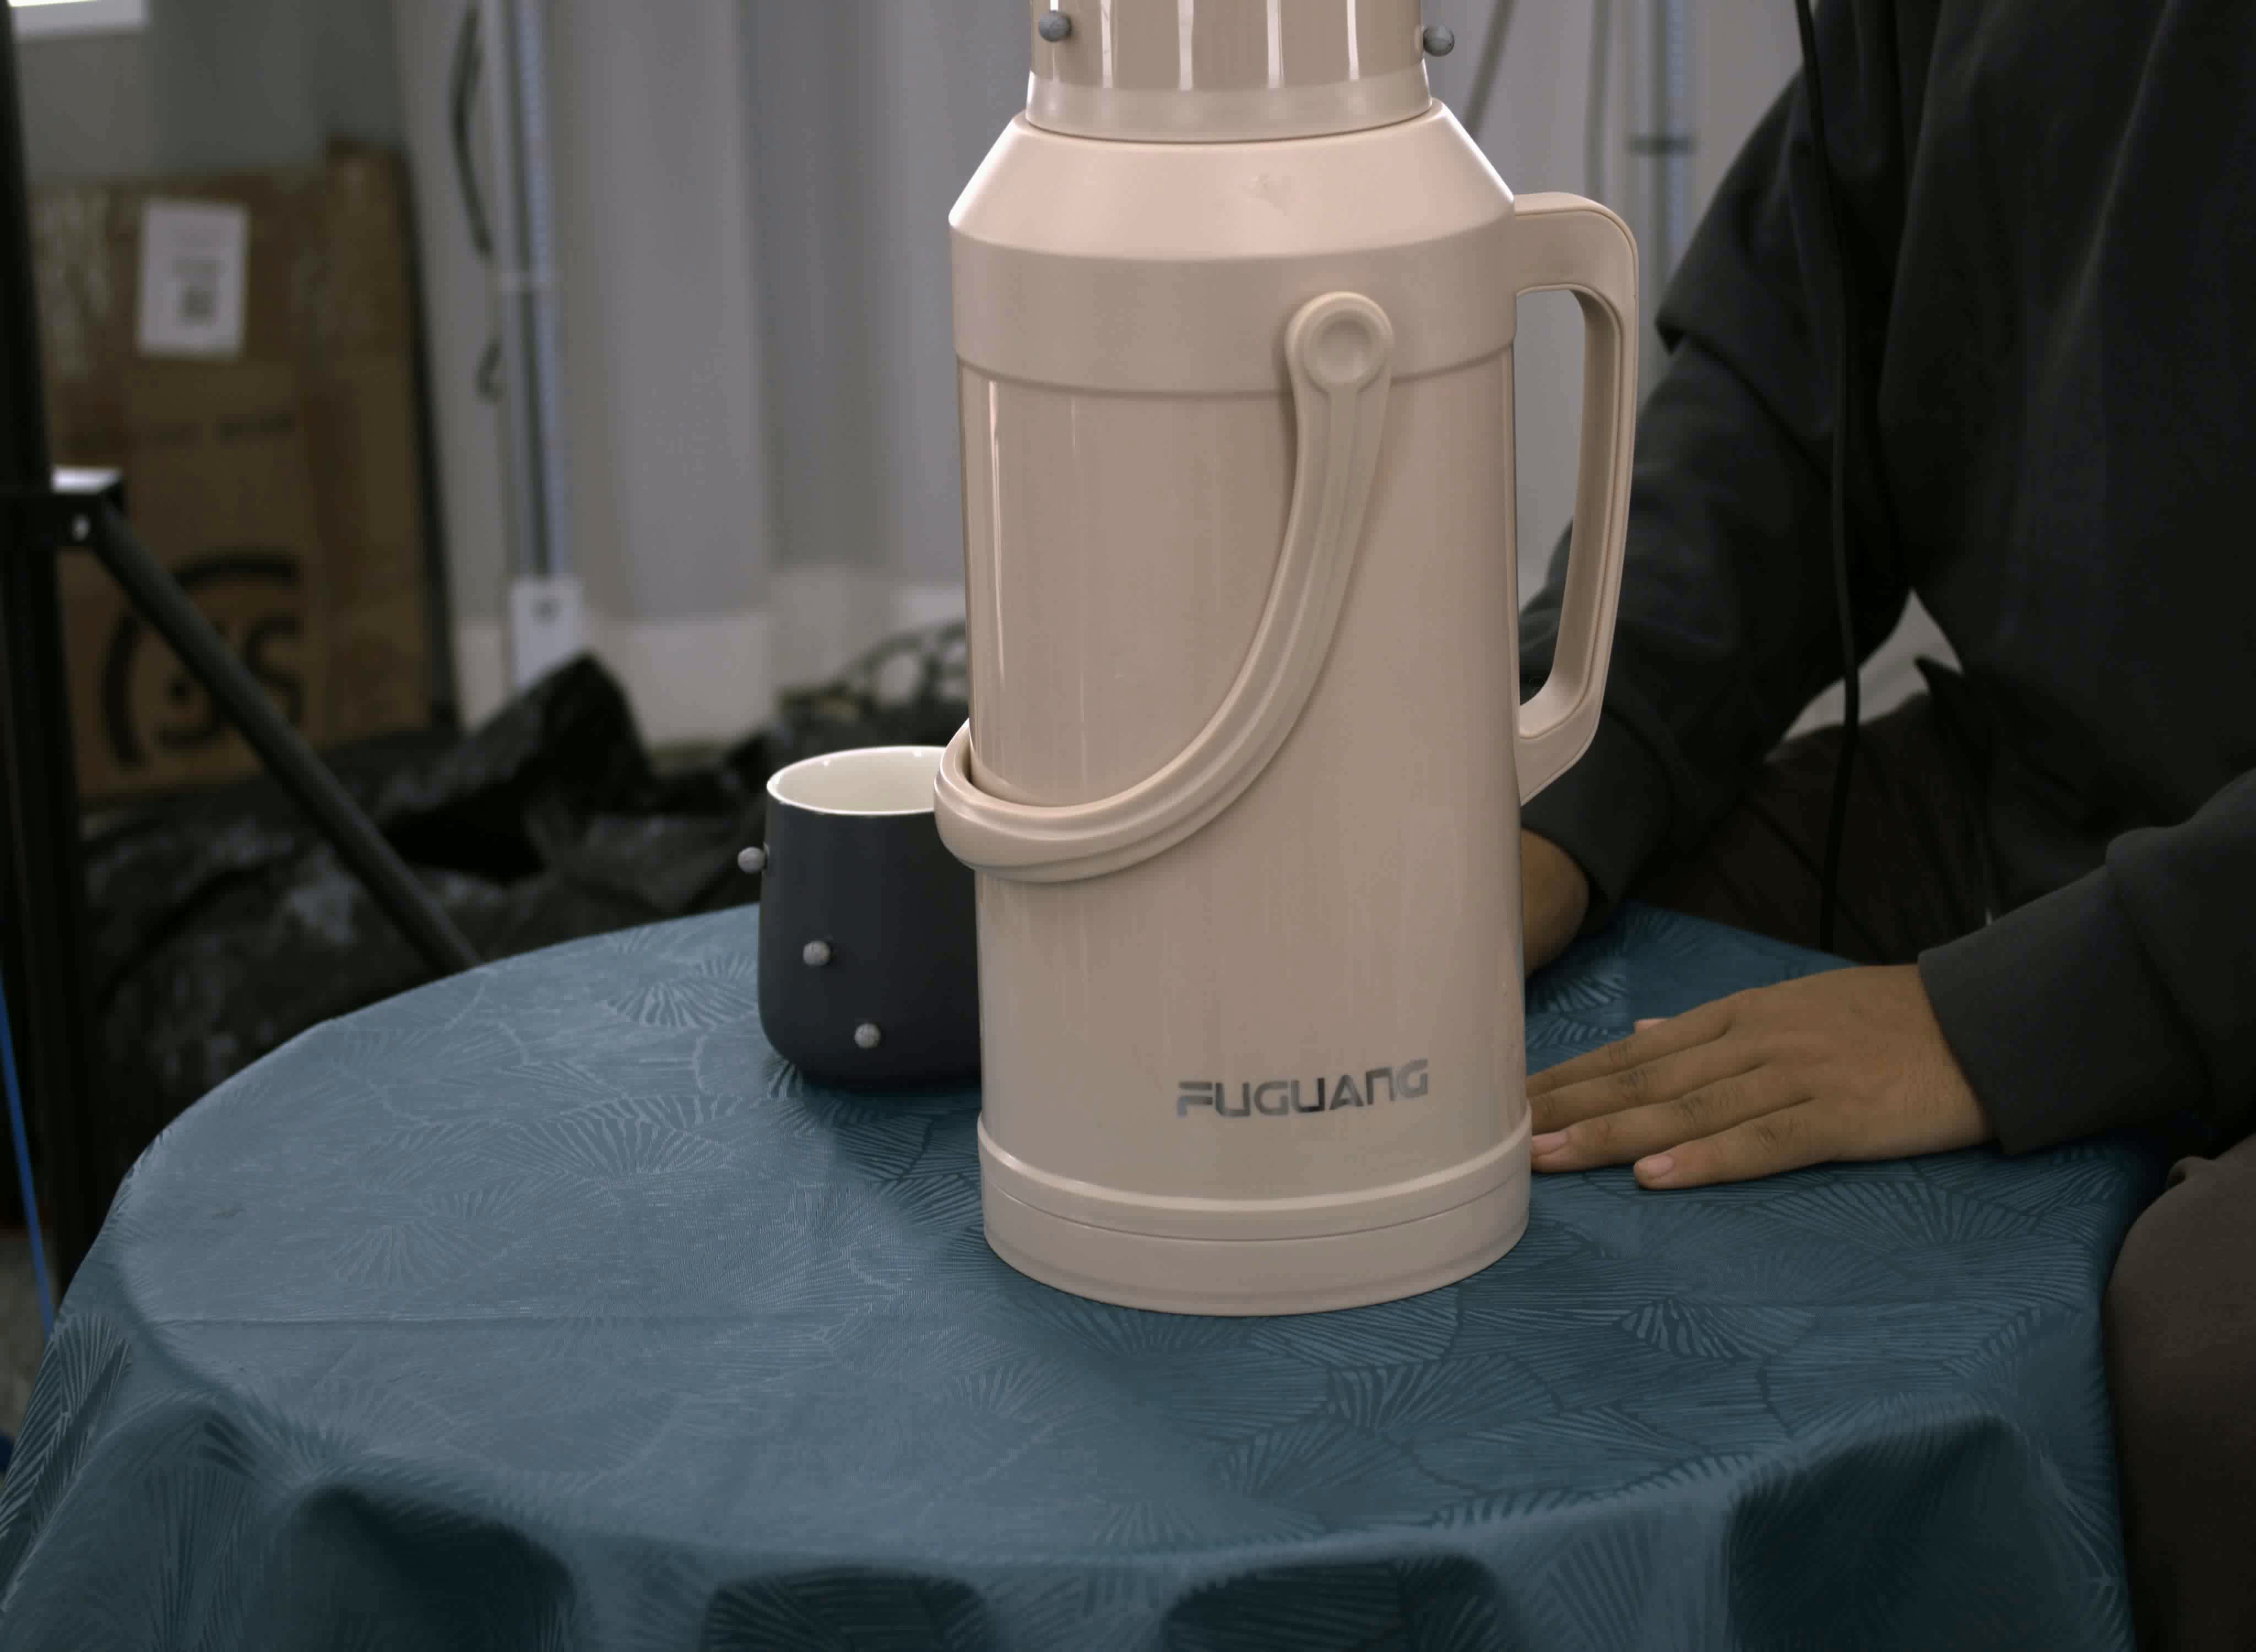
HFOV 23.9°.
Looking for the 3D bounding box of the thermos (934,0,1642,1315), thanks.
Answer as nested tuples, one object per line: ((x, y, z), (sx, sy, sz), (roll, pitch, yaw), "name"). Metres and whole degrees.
((0.046, -0.079, 1.485), (0.203, 0.406, 0.178), (-7, 15, -16), "thermos")

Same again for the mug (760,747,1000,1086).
((-0.056, 0.027, 1.683), (0.122, 0.090, 0.094), (-5, 16, -10), "mug")
